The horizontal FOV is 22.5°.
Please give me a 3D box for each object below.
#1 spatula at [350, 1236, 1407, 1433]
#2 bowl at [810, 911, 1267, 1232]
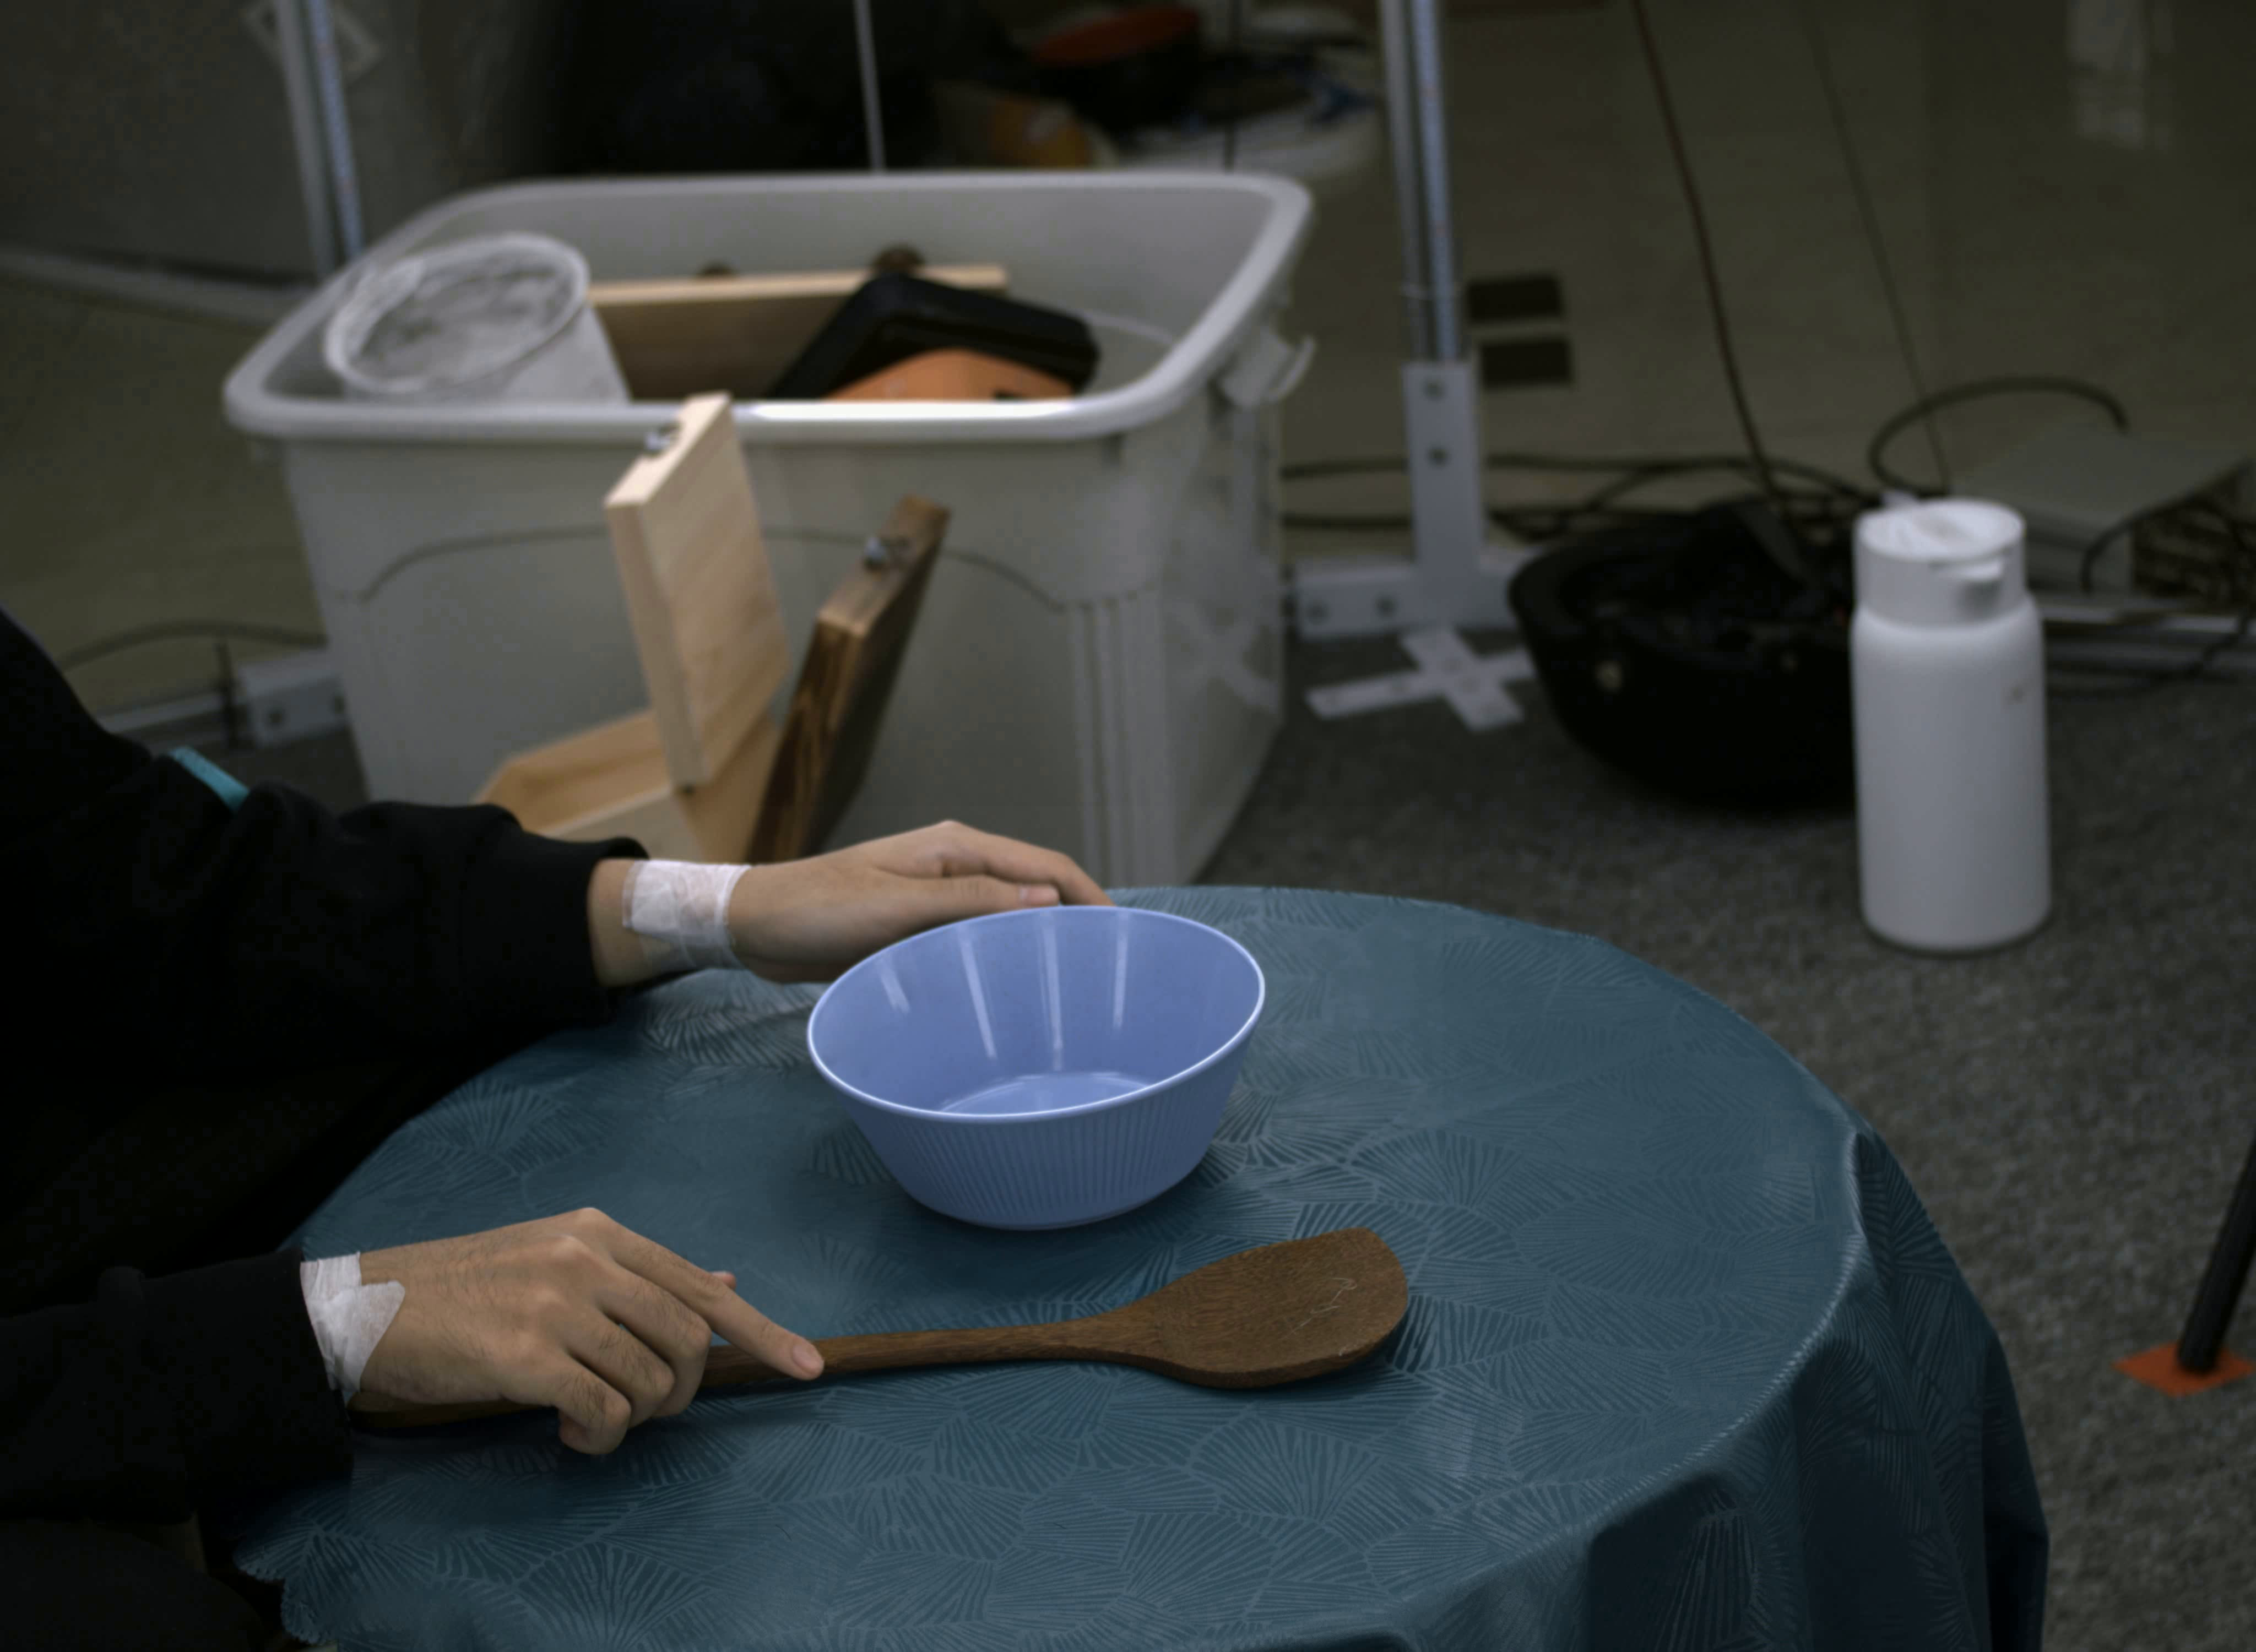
[{"bbox_3d":[-0.091,0.191,2.048,0.385,0.016,0.095,-6,24,2],"label":"spatula"},{"bbox_3d":[-0.030,0.099,2.162,0.176,0.071,0.173,-6,24,3],"label":"bowl"}]
